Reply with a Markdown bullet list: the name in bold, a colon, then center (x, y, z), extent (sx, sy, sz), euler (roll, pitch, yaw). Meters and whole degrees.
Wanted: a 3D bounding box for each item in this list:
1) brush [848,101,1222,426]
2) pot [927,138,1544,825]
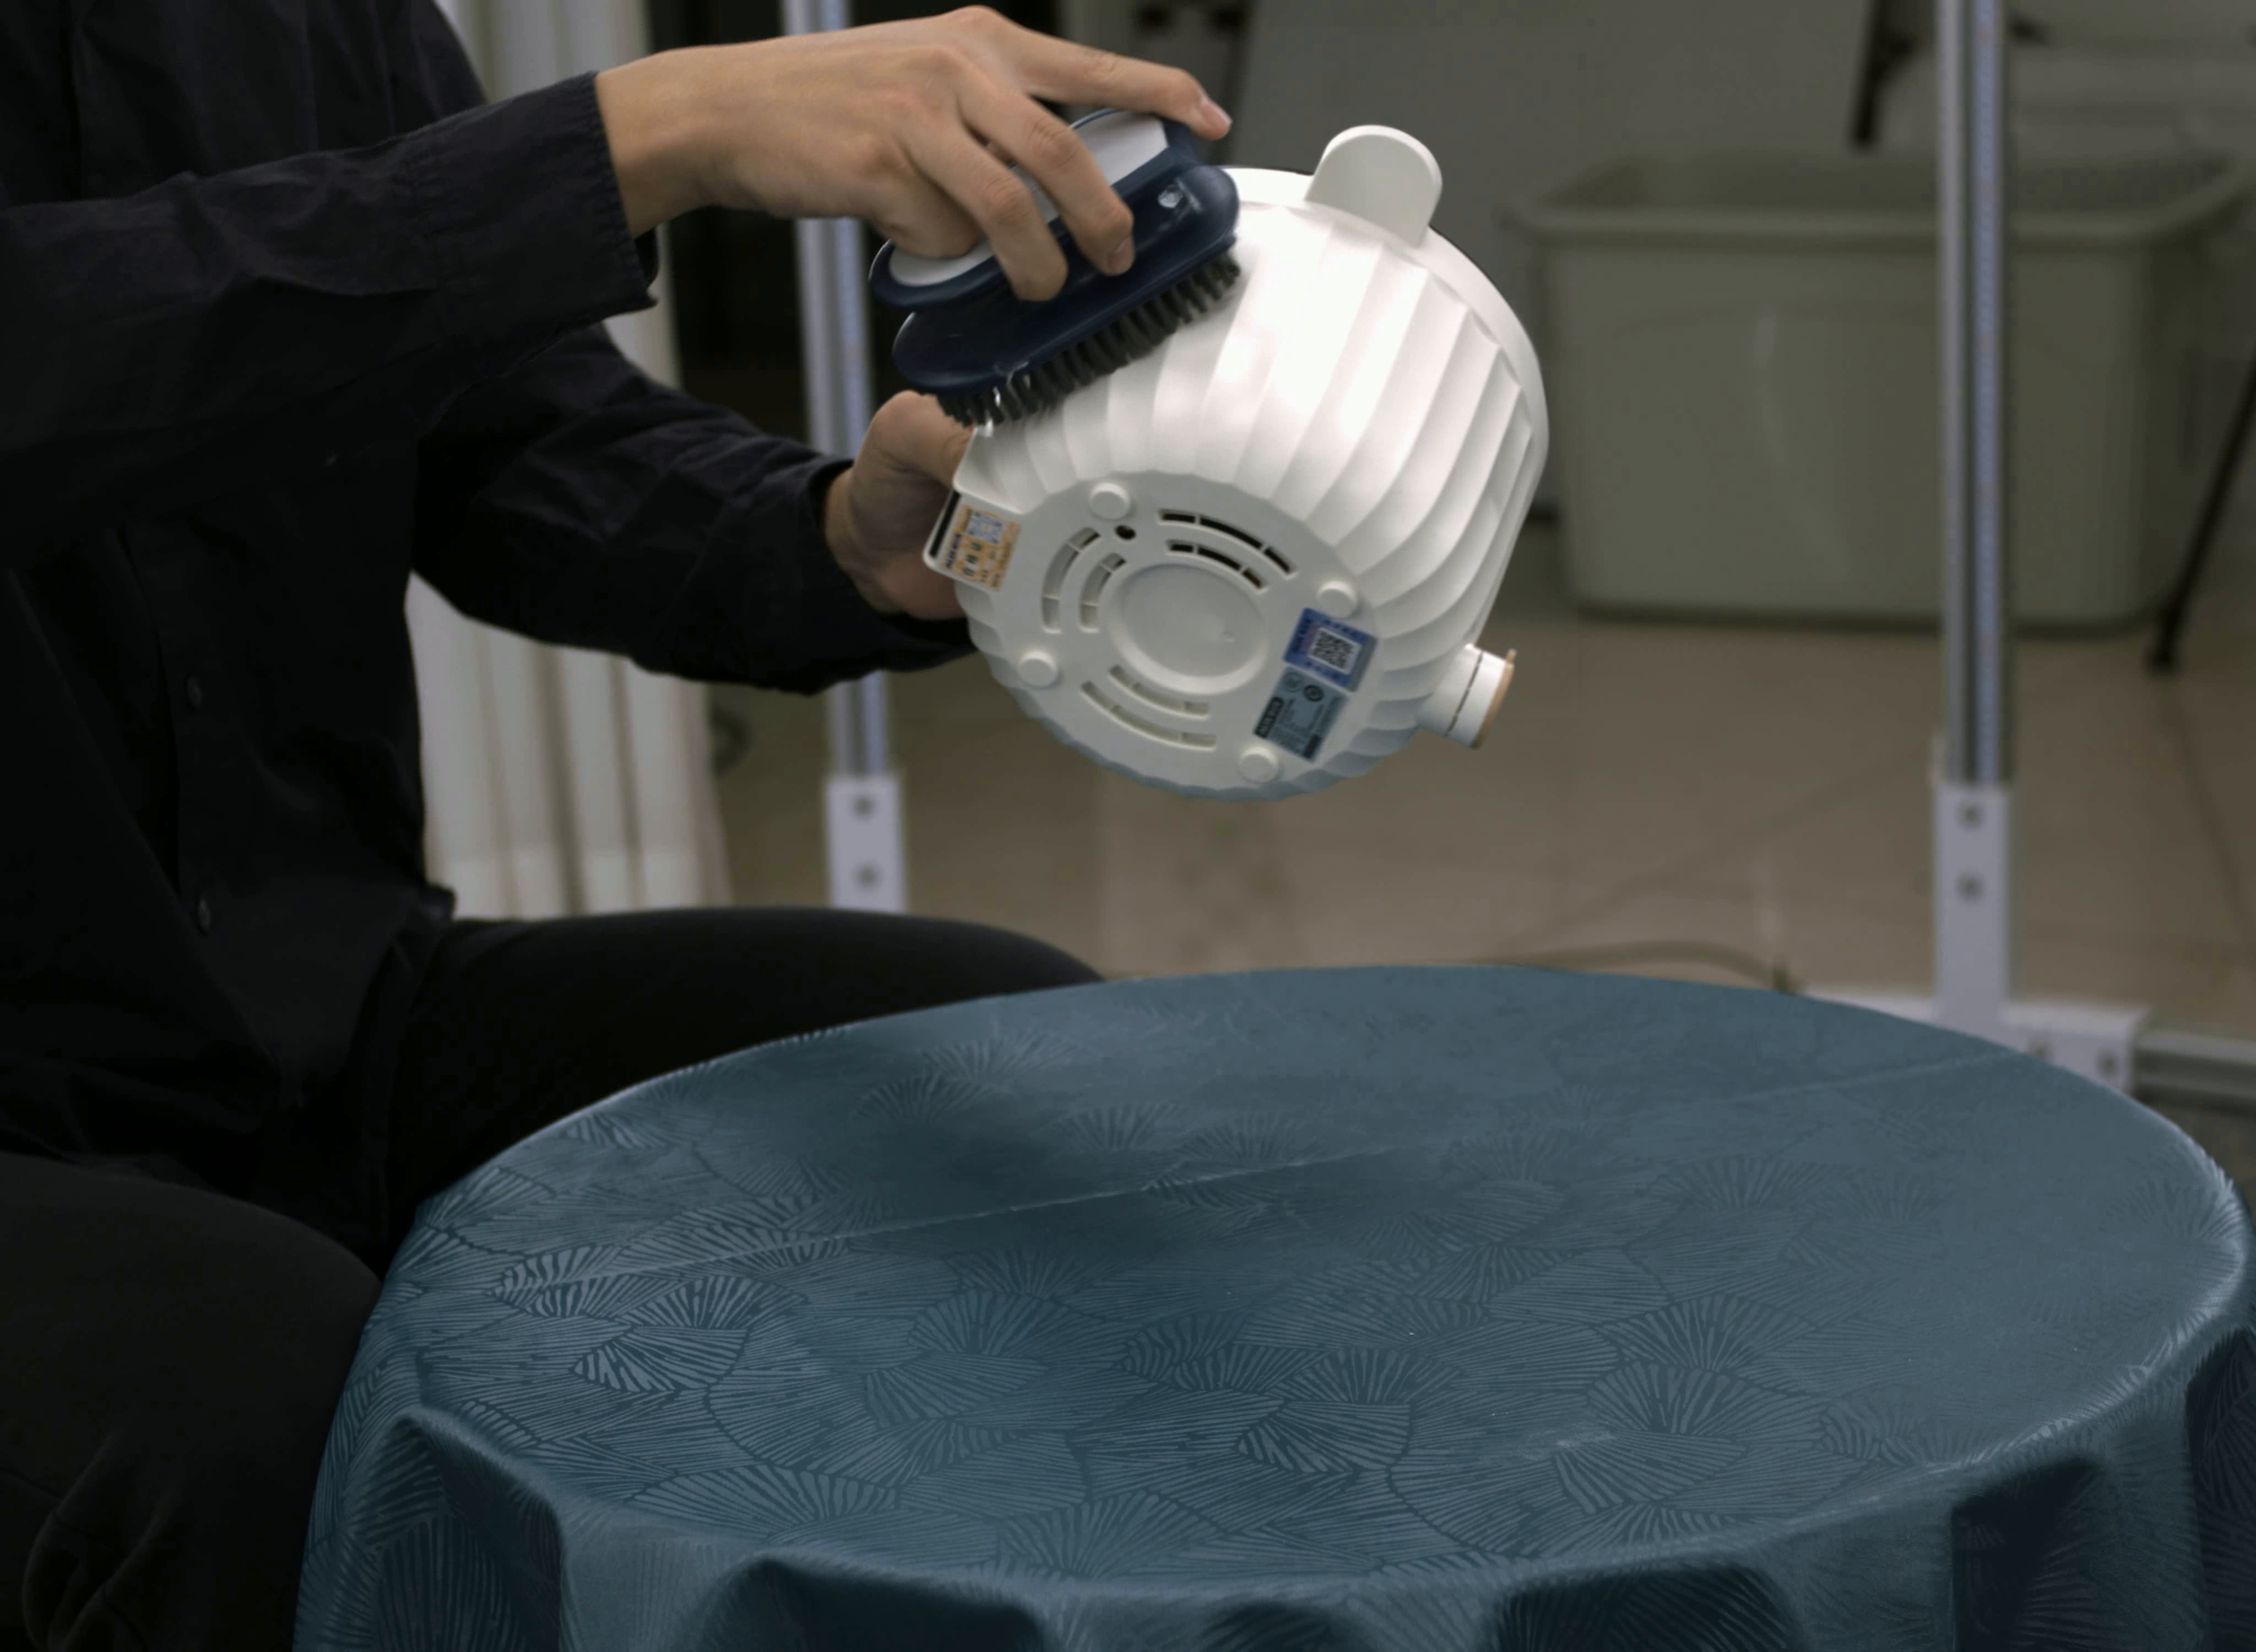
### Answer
- **brush**: center (-0.027, -0.171, 1.676), extent (0.120, 0.061, 0.068), euler (-26, 35, -1)
- **pot**: center (0.040, -0.094, 1.762), extent (0.188, 0.242, 0.143), euler (23, 44, -2)
